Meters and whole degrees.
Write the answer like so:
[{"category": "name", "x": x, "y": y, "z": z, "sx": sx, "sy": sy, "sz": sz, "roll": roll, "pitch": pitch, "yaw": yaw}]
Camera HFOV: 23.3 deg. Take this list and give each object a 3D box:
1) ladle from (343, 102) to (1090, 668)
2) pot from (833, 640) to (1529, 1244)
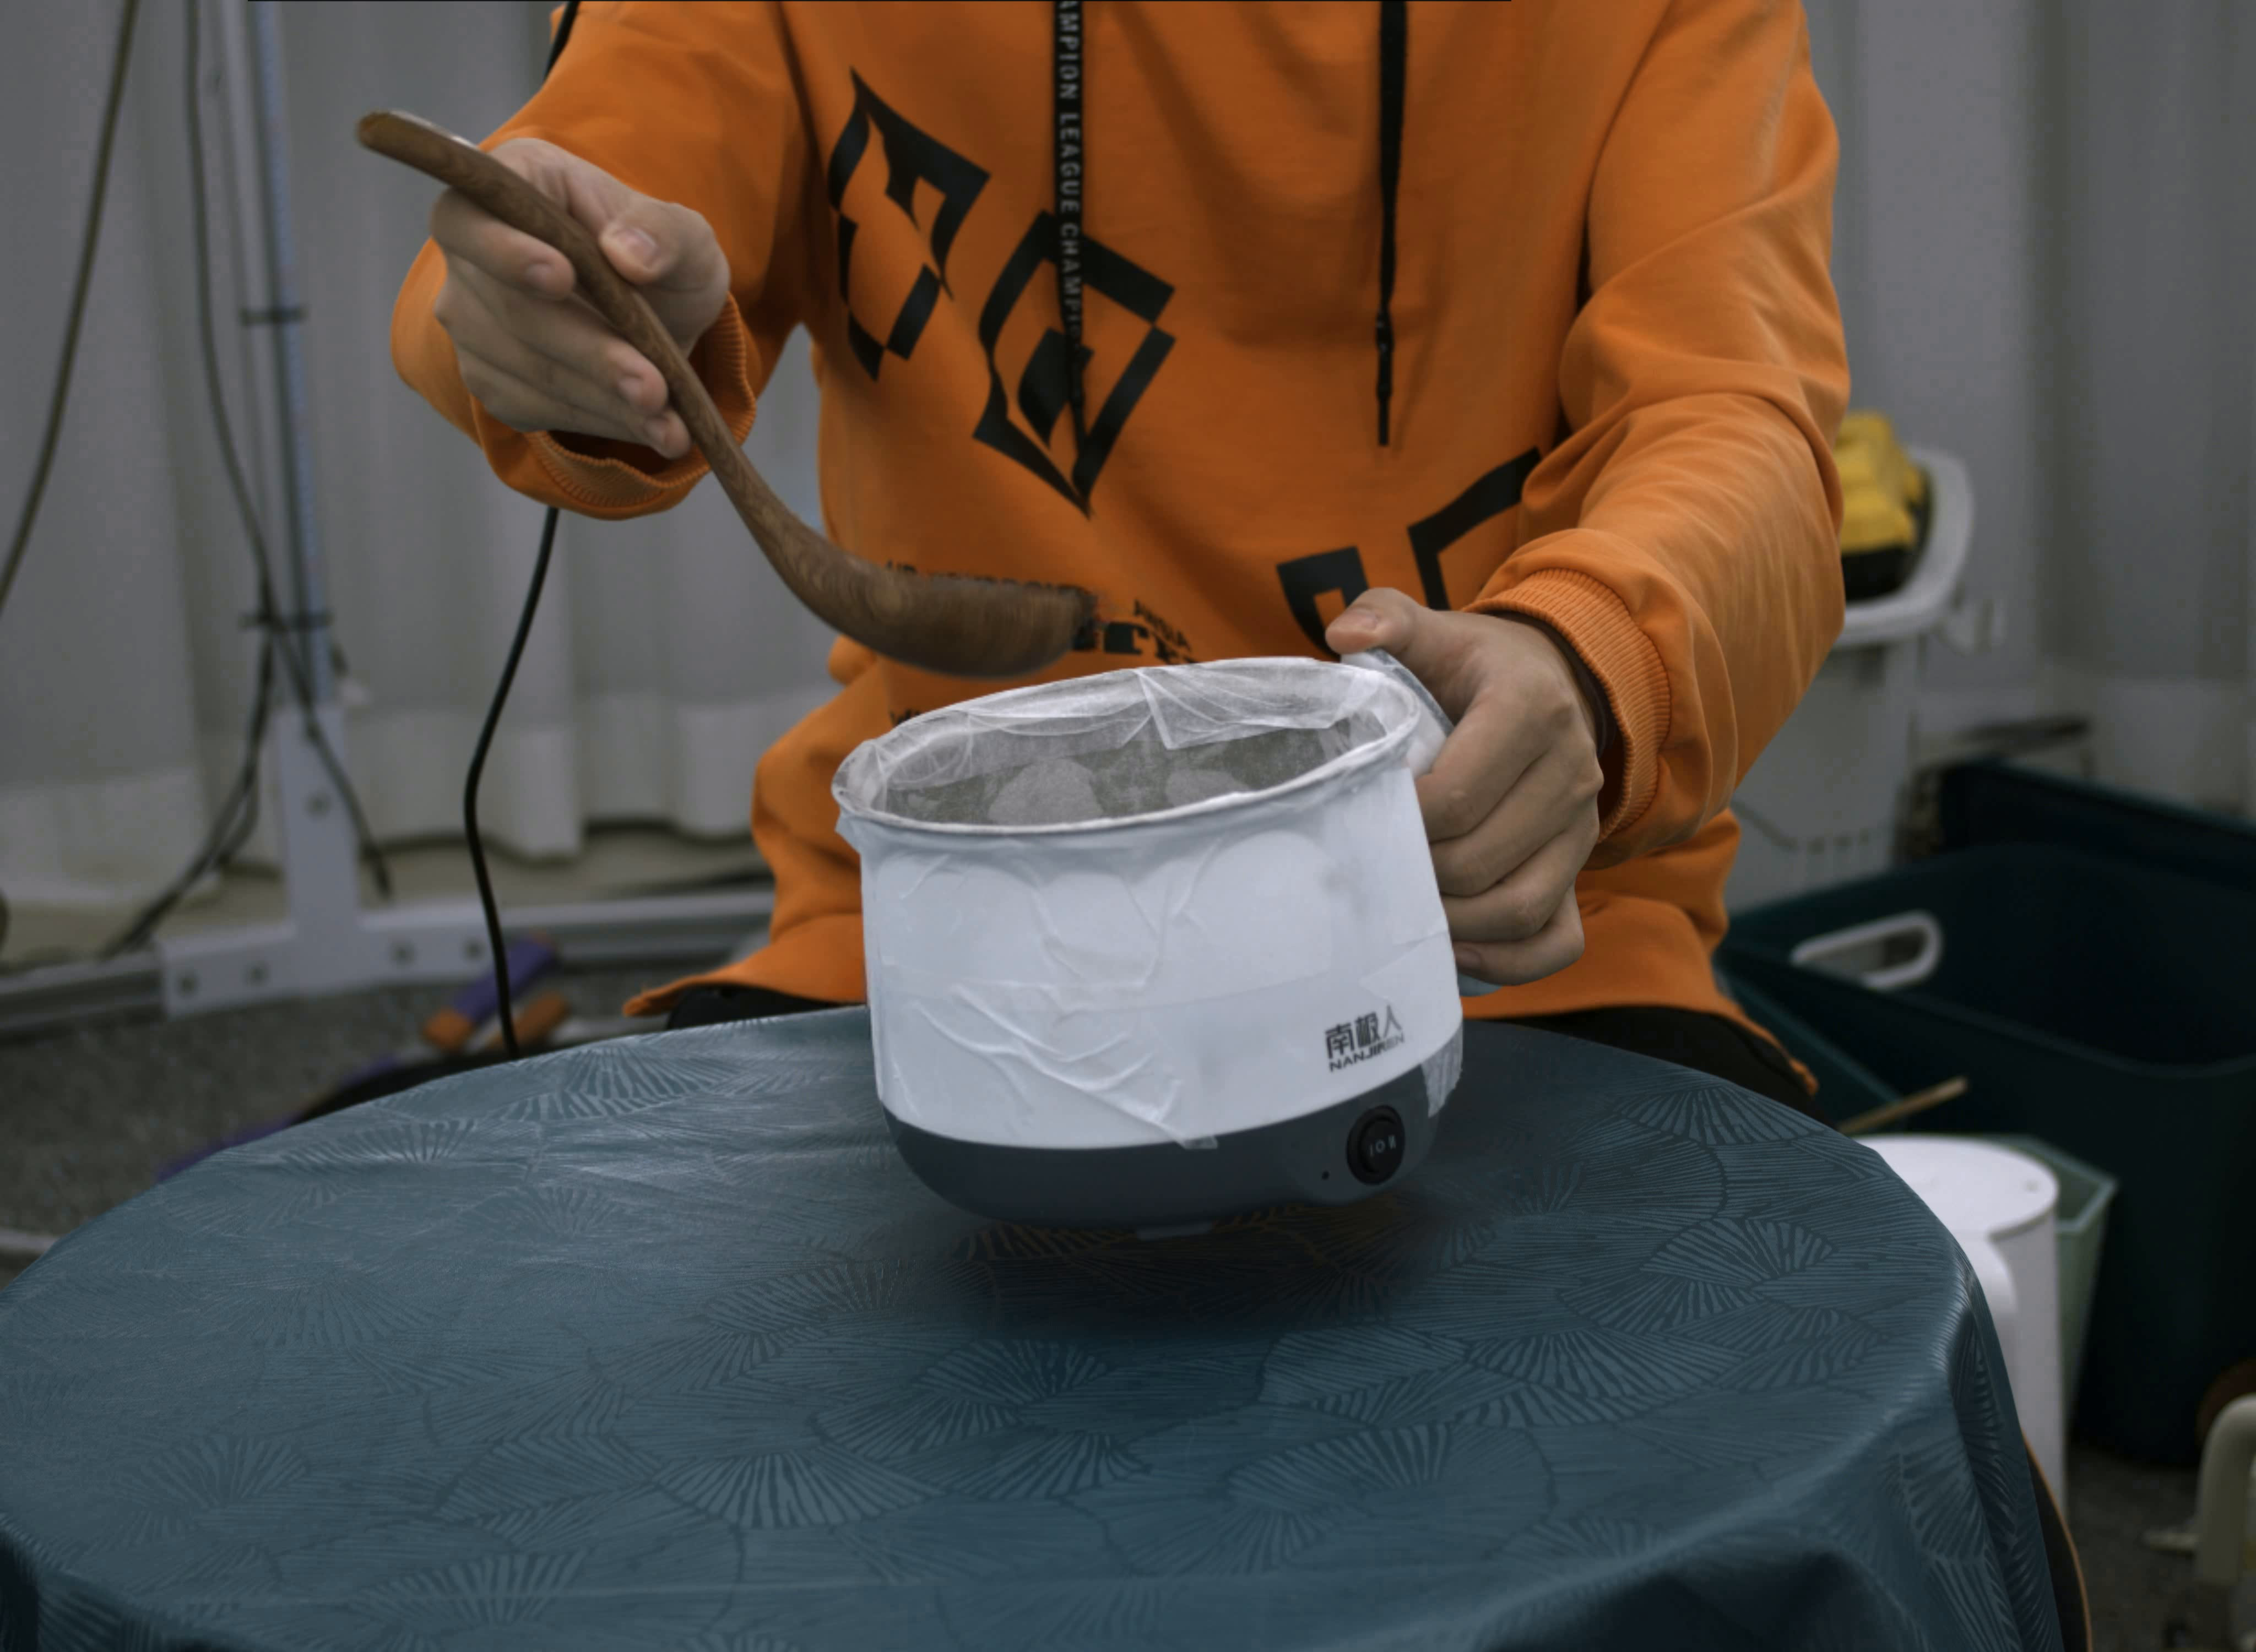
[{"category": "ladle", "x": -0.119, "y": -0.137, "z": 1.608, "sx": 0.065, "sy": 0.260, "sz": 0.076, "roll": -45, "pitch": -2, "yaw": 2}, {"category": "pot", "x": 0.028, "y": 0.028, "z": 1.650, "sx": 0.233, "sy": 0.136, "sz": 0.179, "roll": -21, "pitch": 21, "yaw": -40}]
